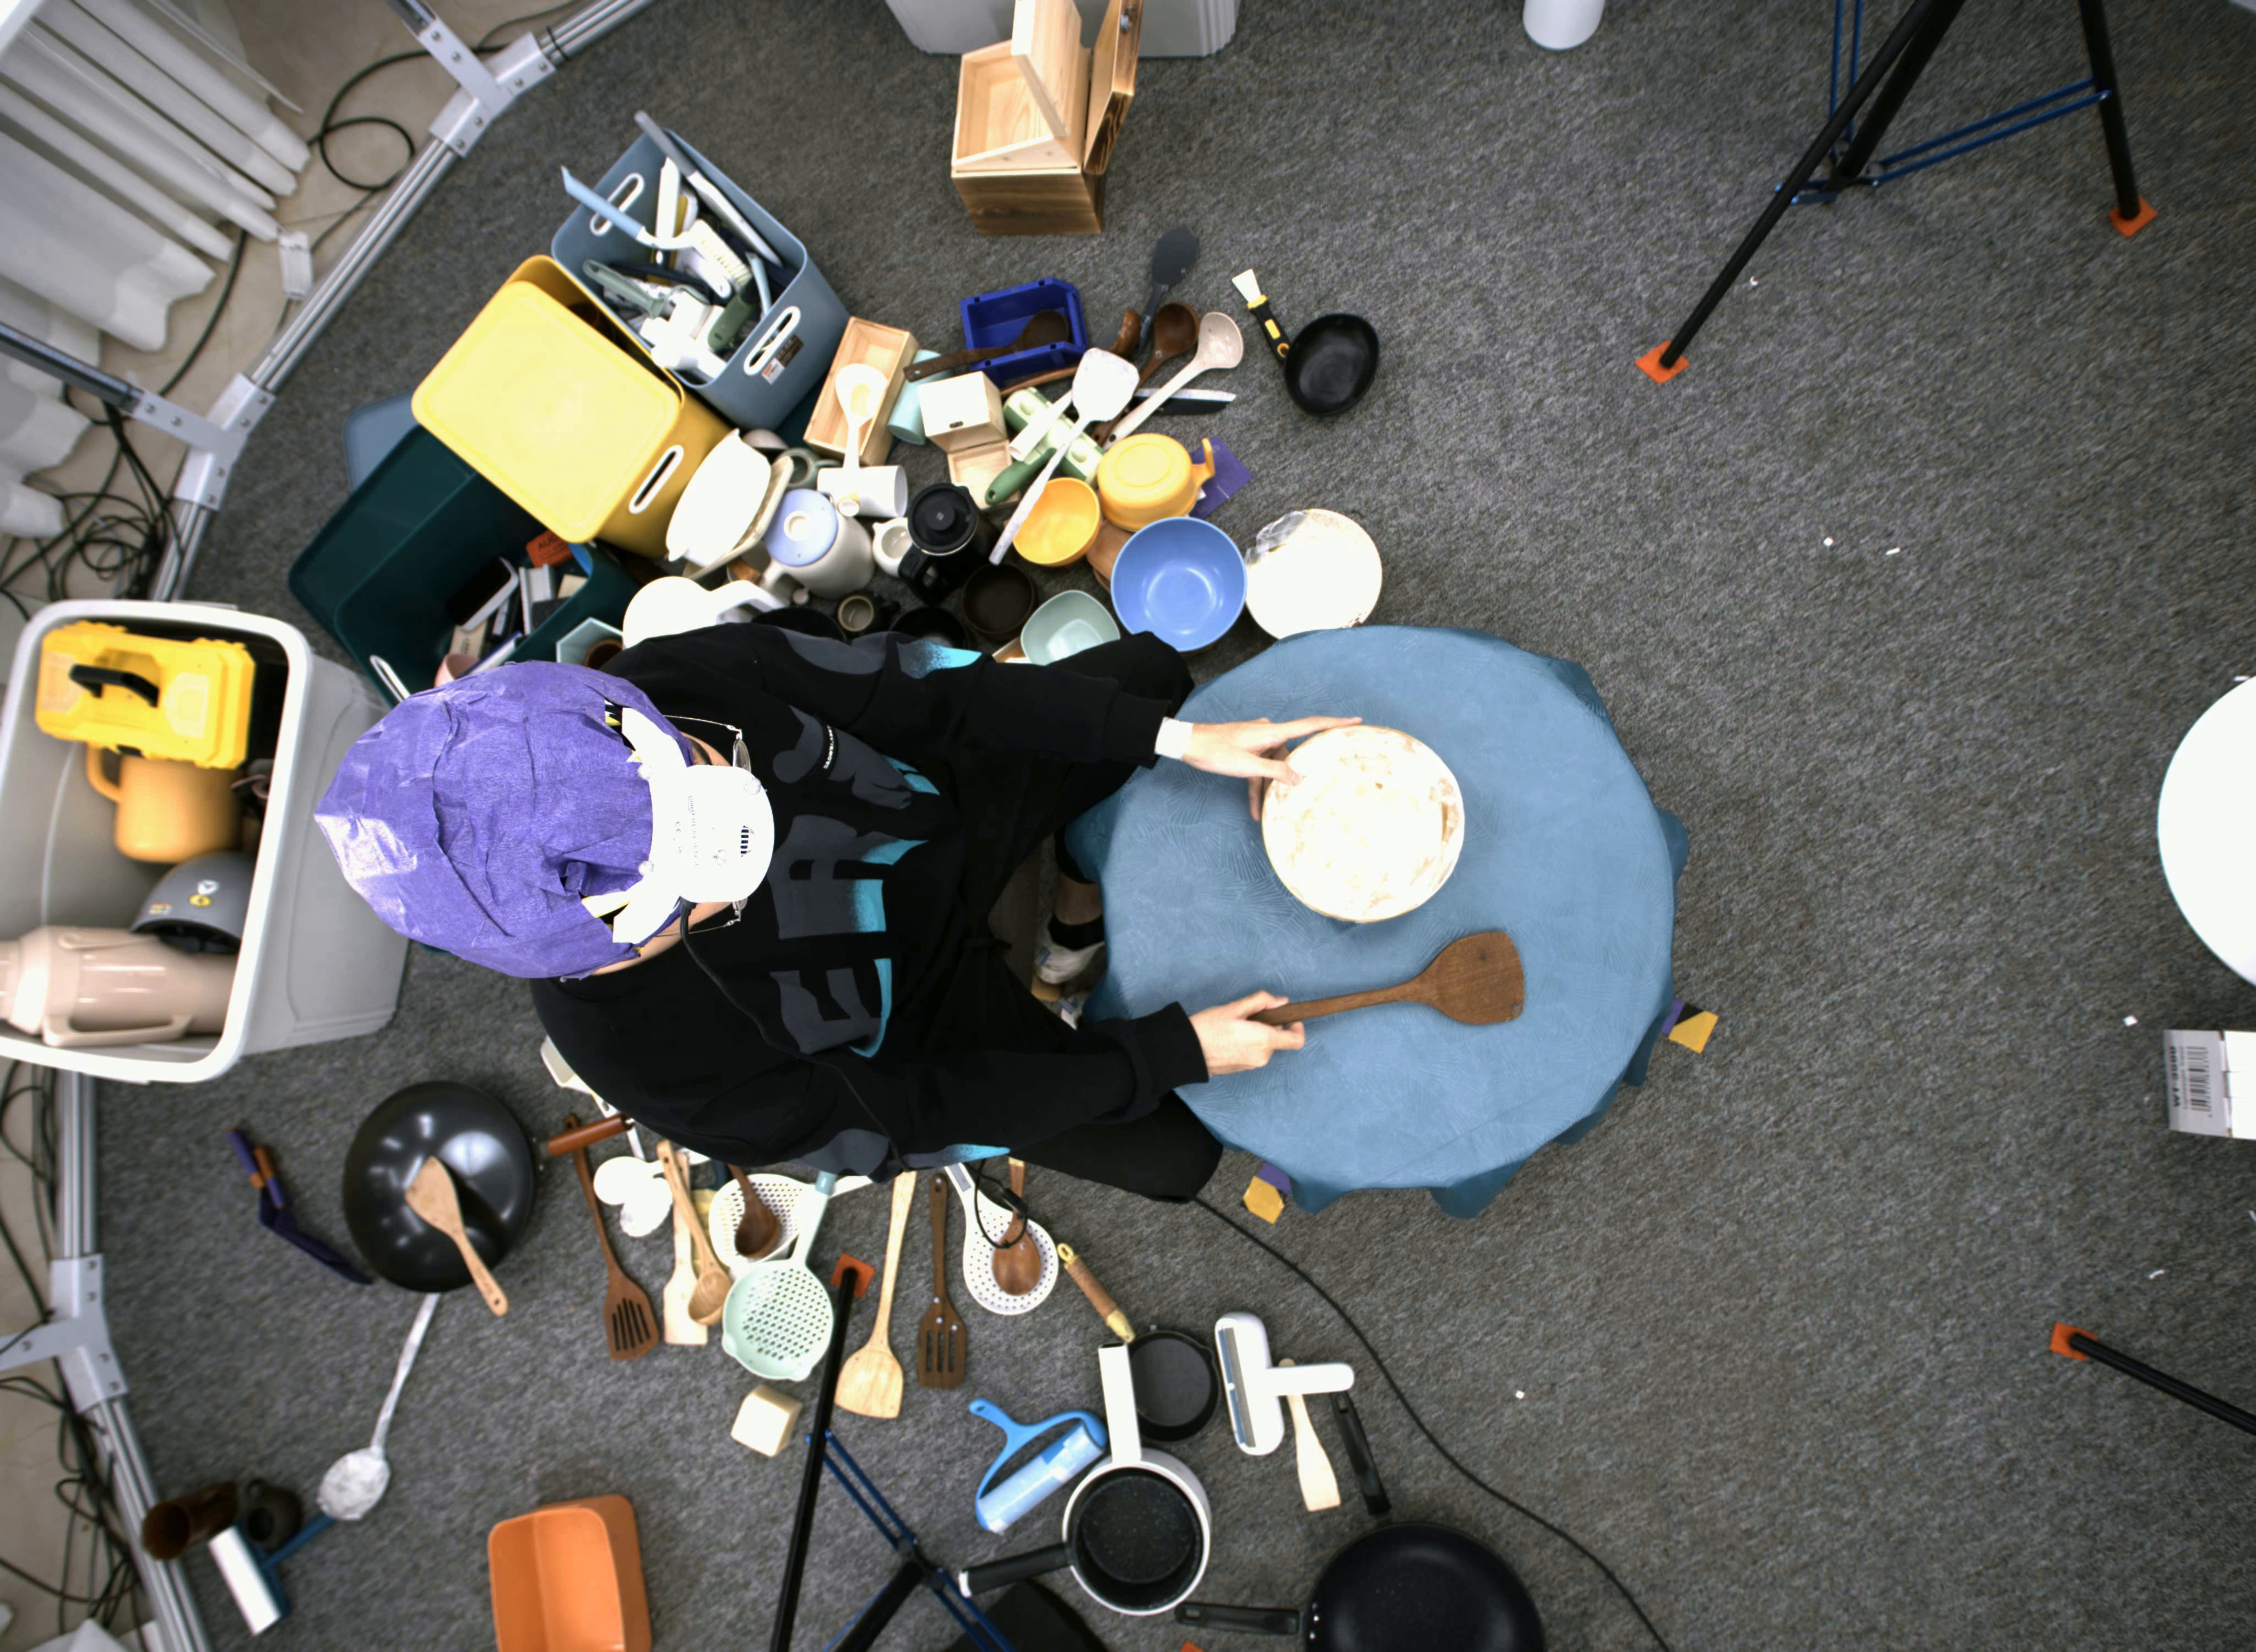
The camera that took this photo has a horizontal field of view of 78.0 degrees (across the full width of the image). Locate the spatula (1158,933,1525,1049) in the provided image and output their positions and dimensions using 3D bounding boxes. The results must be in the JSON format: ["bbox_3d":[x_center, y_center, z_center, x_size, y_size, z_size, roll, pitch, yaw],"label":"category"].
[{"bbox_3d":[0.221,0.184,1.432,0.386,0.016,0.096,-10,88,0],"label":"spatula"}]

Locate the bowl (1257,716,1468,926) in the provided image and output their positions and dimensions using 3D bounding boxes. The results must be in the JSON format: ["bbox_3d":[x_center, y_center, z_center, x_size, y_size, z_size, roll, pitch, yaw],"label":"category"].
[{"bbox_3d":[0.241,-0.002,1.427,0.215,0.094,0.214,-1,88,10],"label":"bowl"}]
